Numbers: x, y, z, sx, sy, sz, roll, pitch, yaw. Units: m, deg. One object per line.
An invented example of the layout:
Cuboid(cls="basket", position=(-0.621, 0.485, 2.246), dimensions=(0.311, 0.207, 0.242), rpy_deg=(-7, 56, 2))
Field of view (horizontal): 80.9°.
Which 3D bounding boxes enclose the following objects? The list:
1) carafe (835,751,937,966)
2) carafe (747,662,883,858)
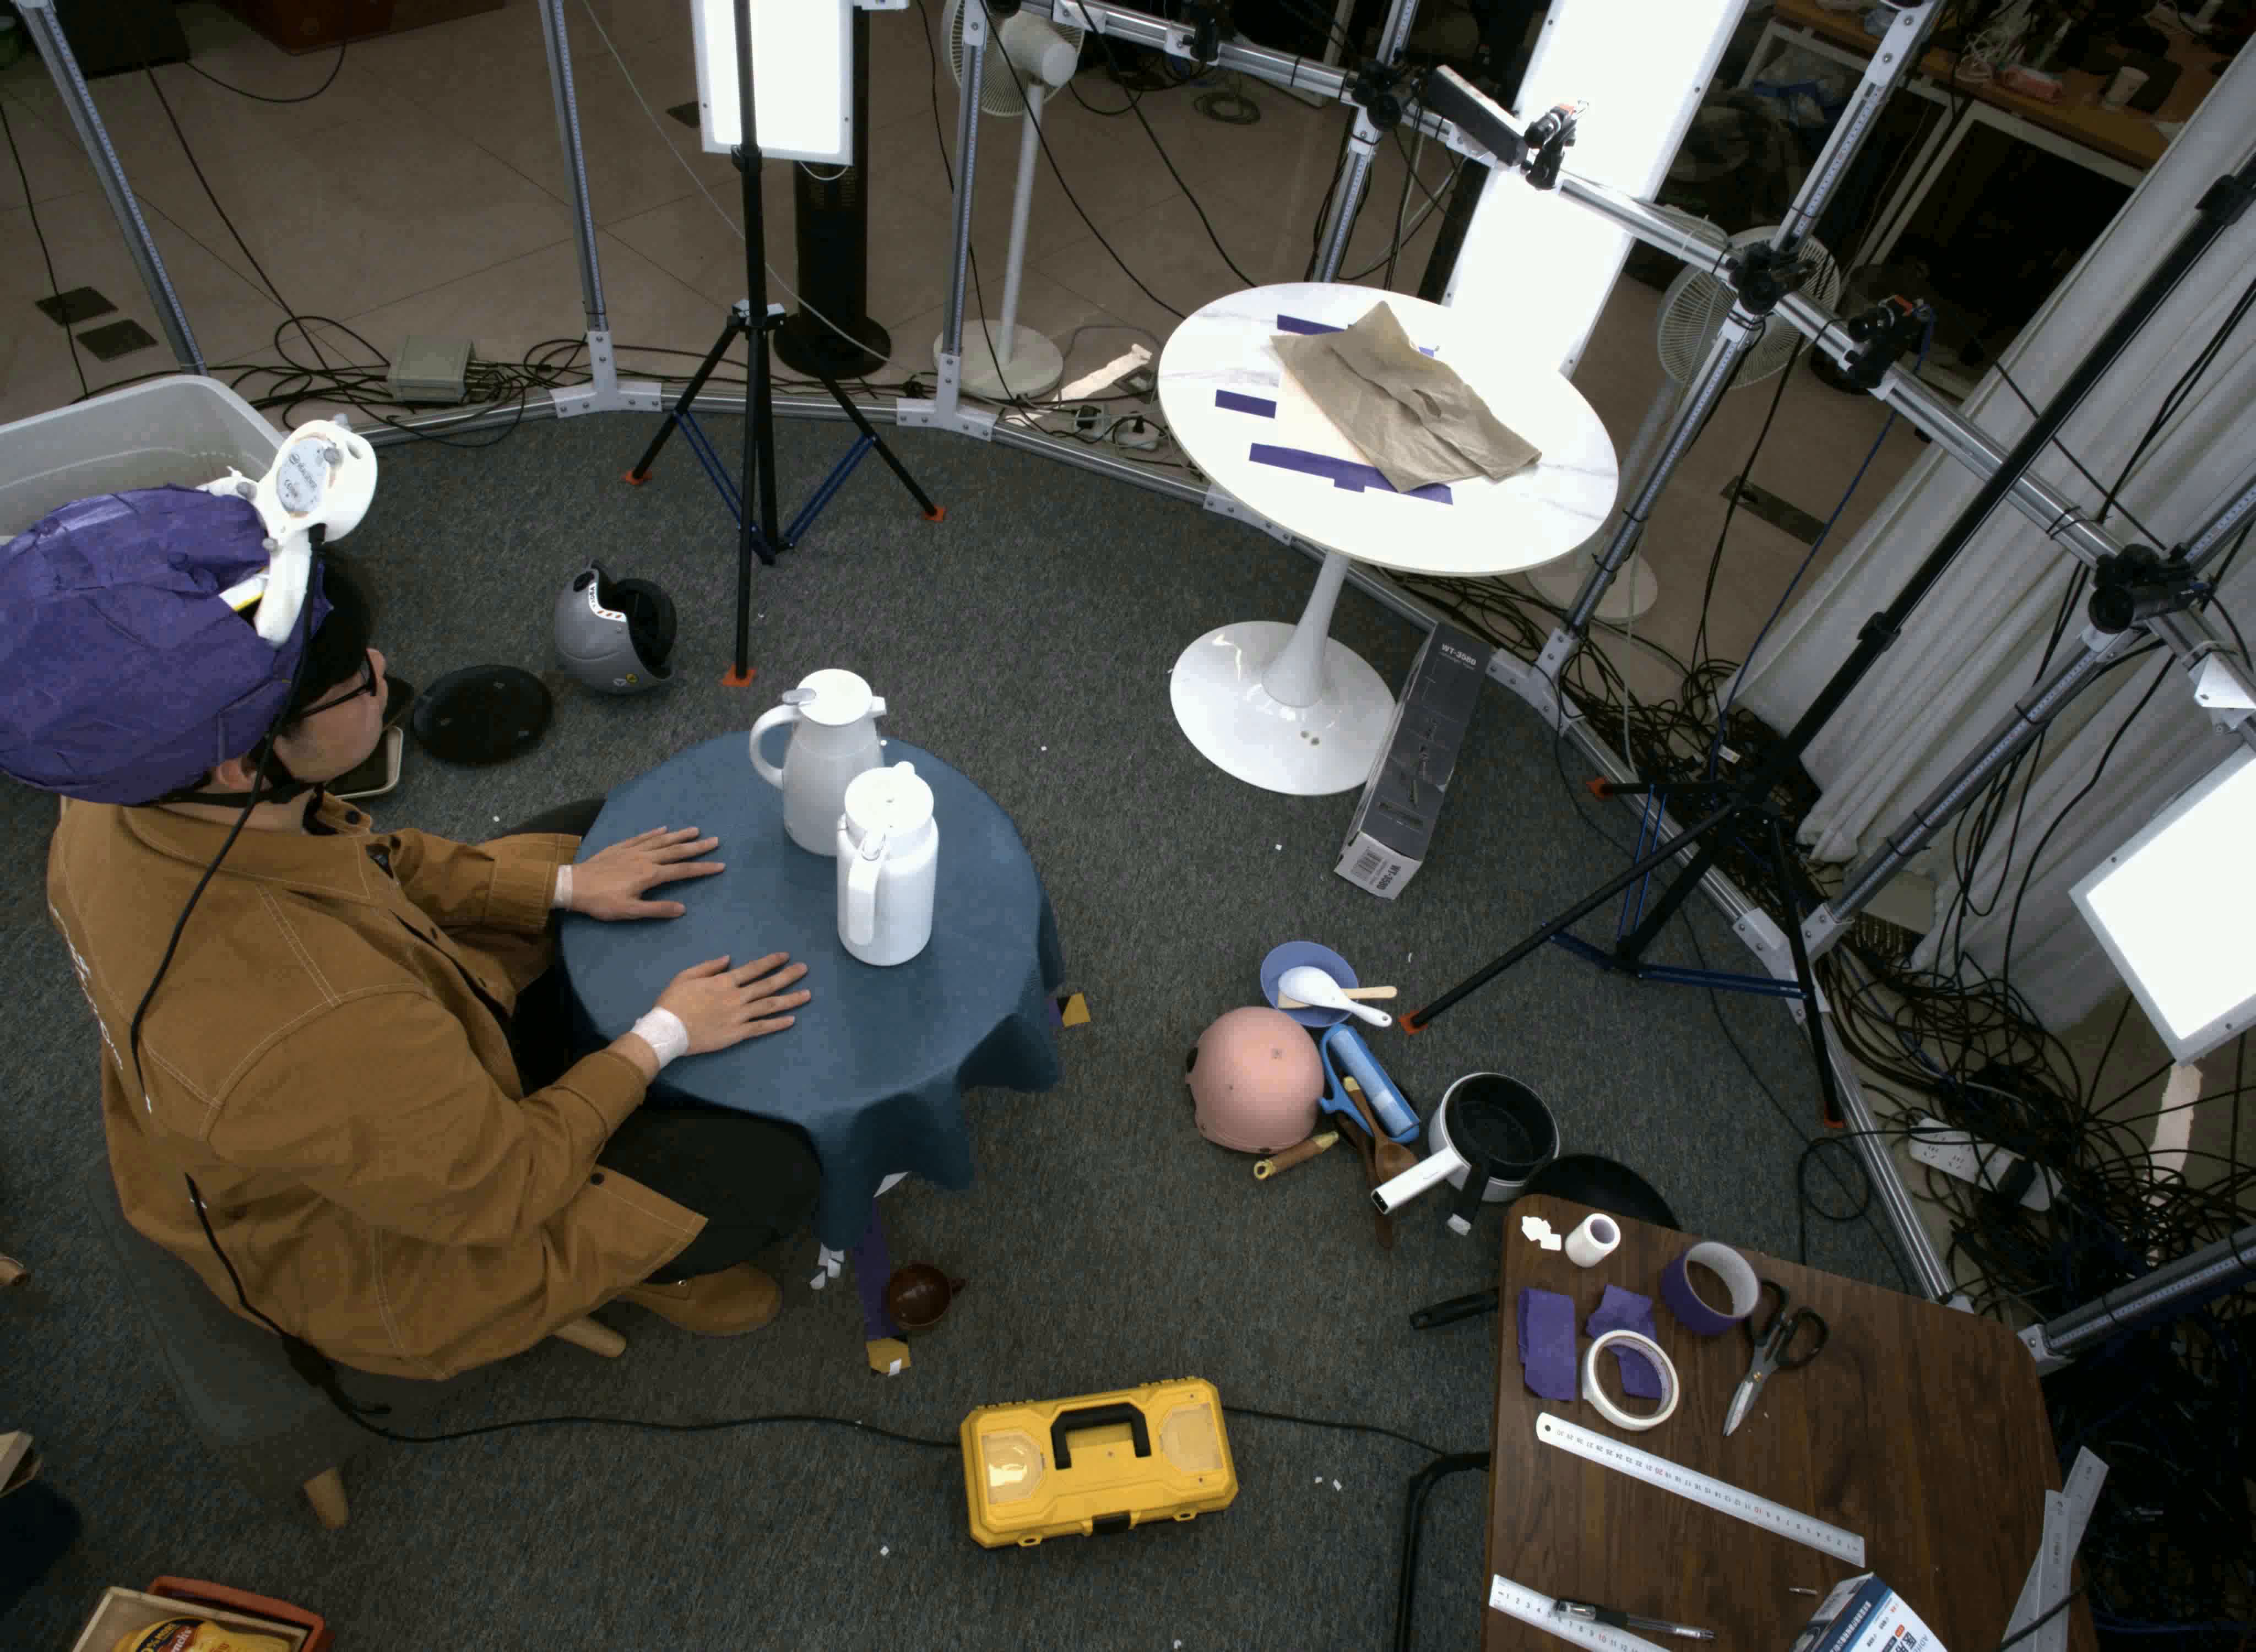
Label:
Cuboid(cls="carafe", position=(-0.291, 0.060, 1.538), dimensions=(0.123, 0.274, 0.170), rpy_deg=(15, 51, -3))
Cuboid(cls="carafe", position=(-0.392, -0.087, 1.634), dimensions=(0.168, 0.254, 0.129), rpy_deg=(-5, 53, -14))
